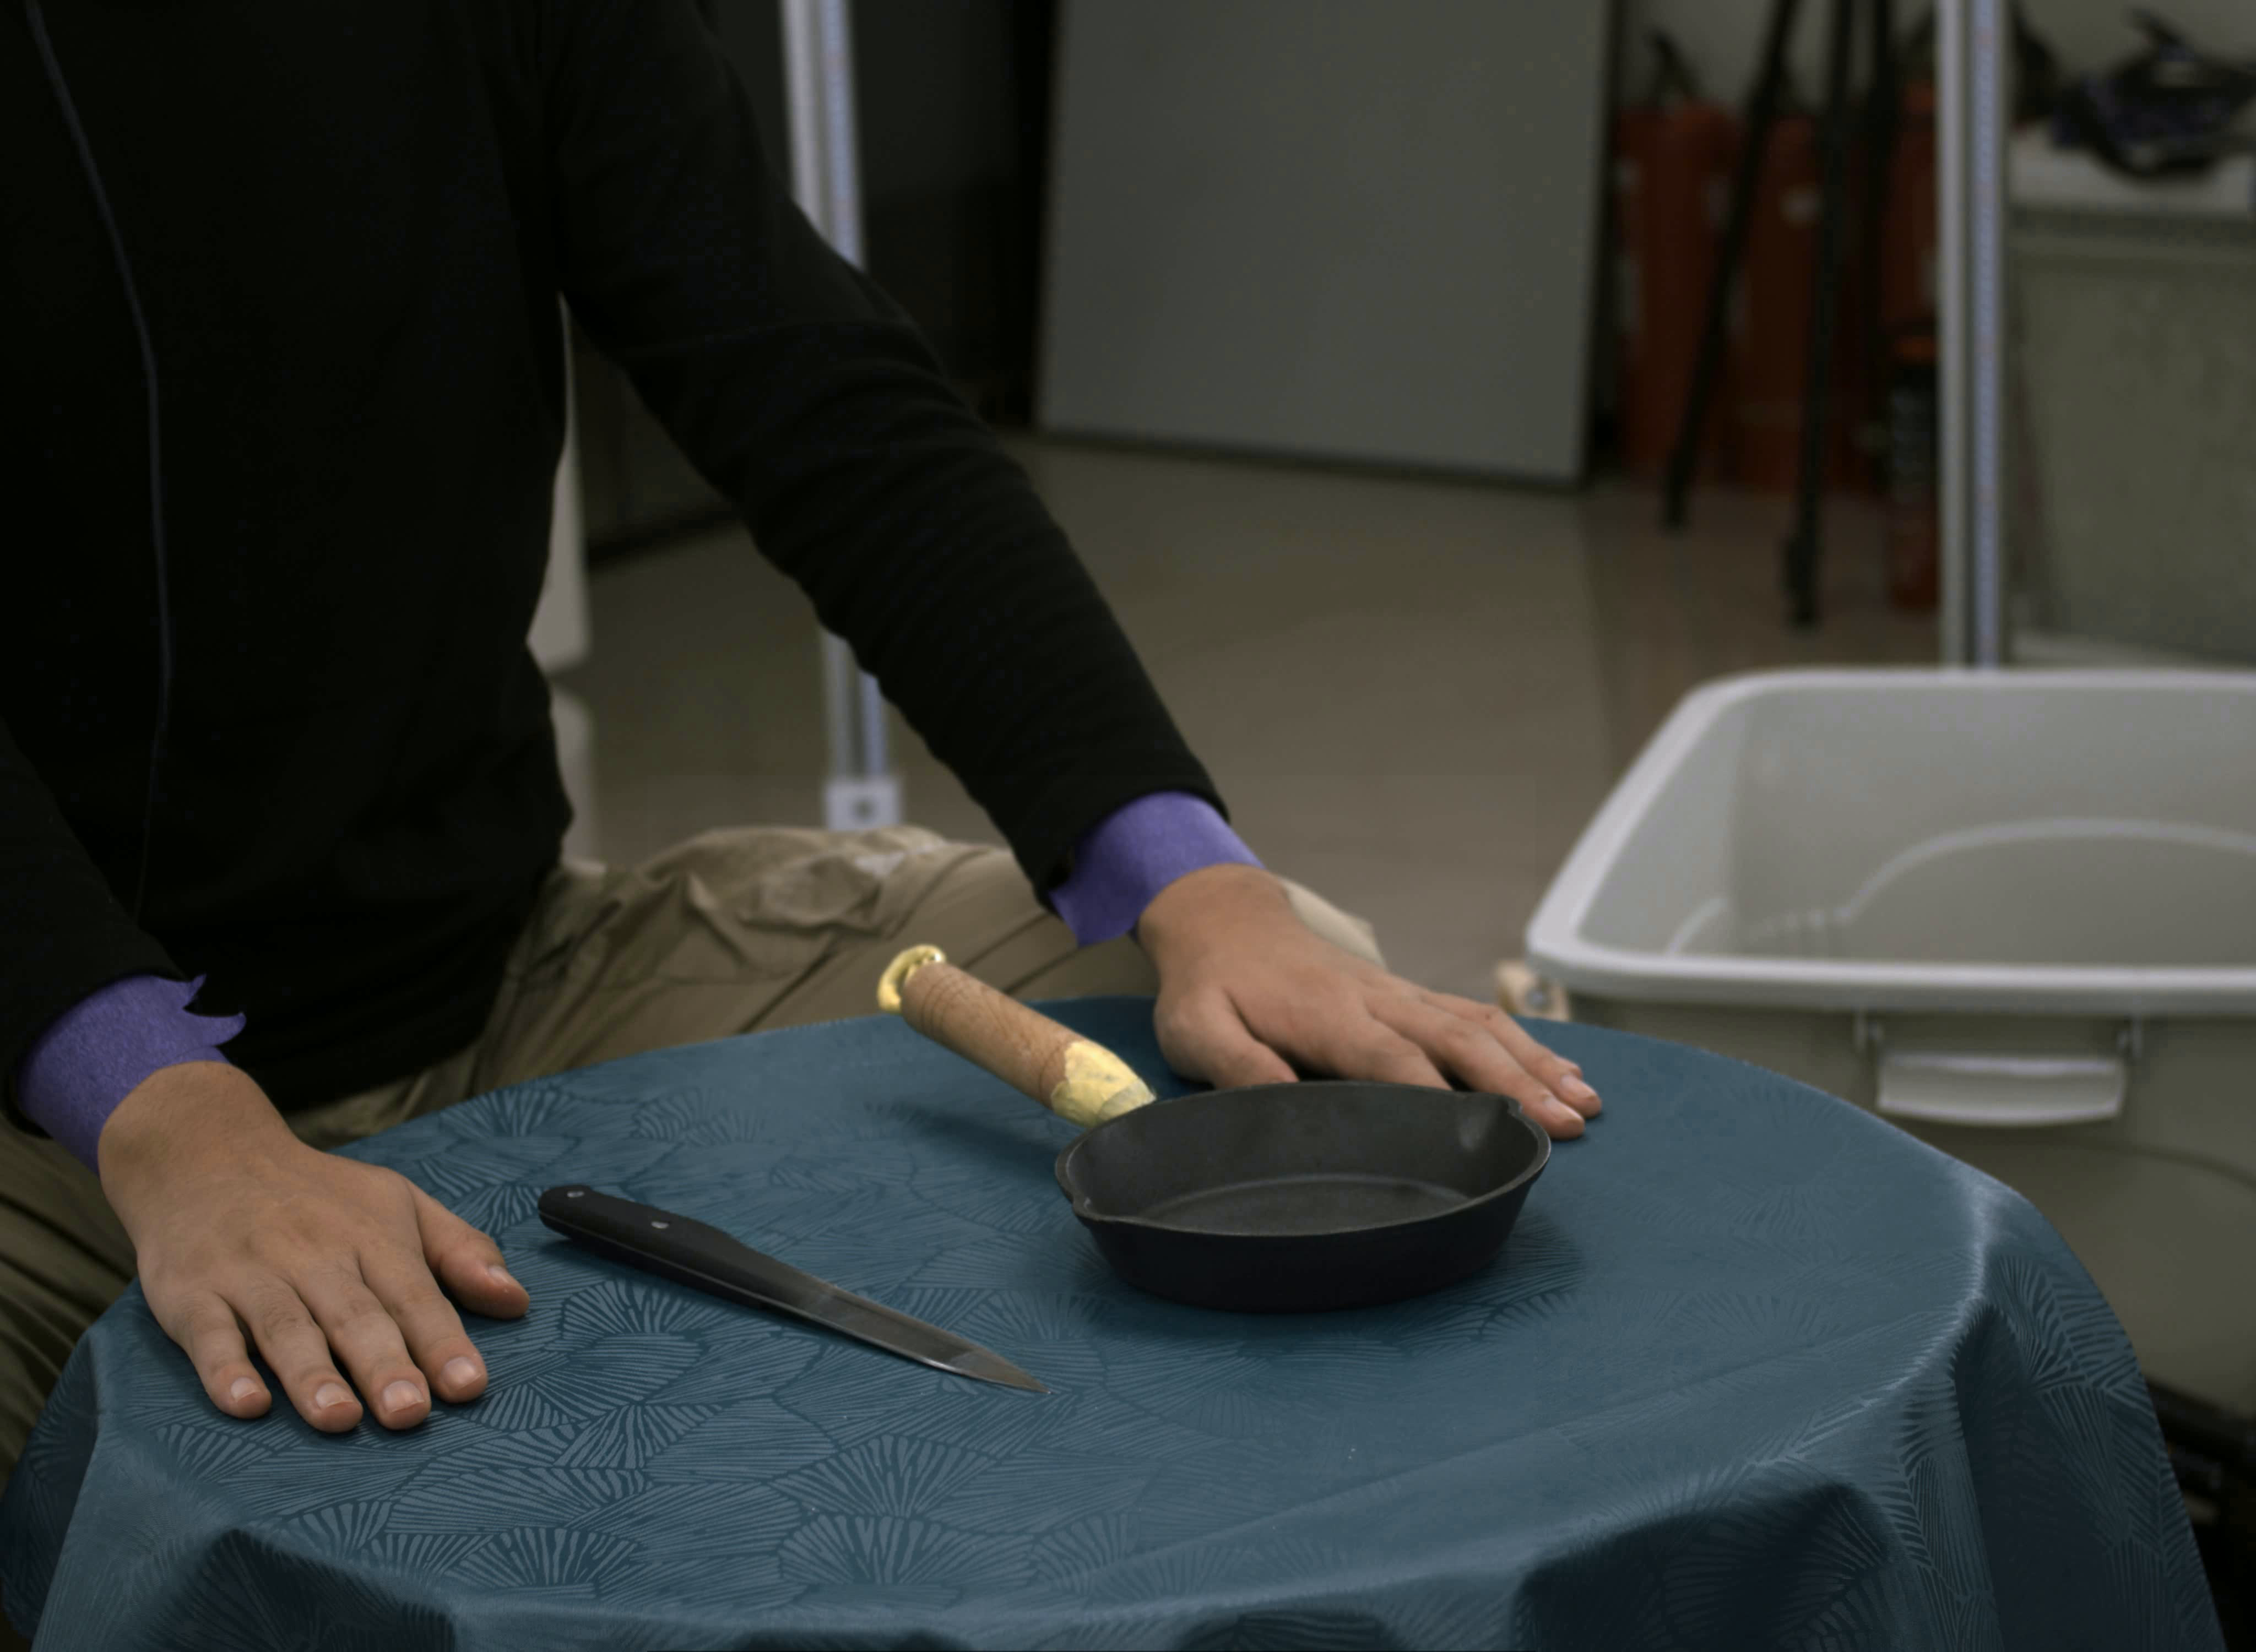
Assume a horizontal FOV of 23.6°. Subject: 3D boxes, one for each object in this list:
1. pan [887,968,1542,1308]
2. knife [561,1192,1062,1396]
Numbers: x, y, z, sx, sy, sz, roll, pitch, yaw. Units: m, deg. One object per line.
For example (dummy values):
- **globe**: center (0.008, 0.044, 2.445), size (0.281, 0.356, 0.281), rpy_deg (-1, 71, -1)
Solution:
- **pan**: center (0.010, 0.098, 1.770), size (0.165, 0.050, 0.327), rpy_deg (-12, 15, -30)
- **knife**: center (-0.103, 0.147, 1.679), size (0.024, 0.016, 0.240), rpy_deg (-14, 19, -40)
